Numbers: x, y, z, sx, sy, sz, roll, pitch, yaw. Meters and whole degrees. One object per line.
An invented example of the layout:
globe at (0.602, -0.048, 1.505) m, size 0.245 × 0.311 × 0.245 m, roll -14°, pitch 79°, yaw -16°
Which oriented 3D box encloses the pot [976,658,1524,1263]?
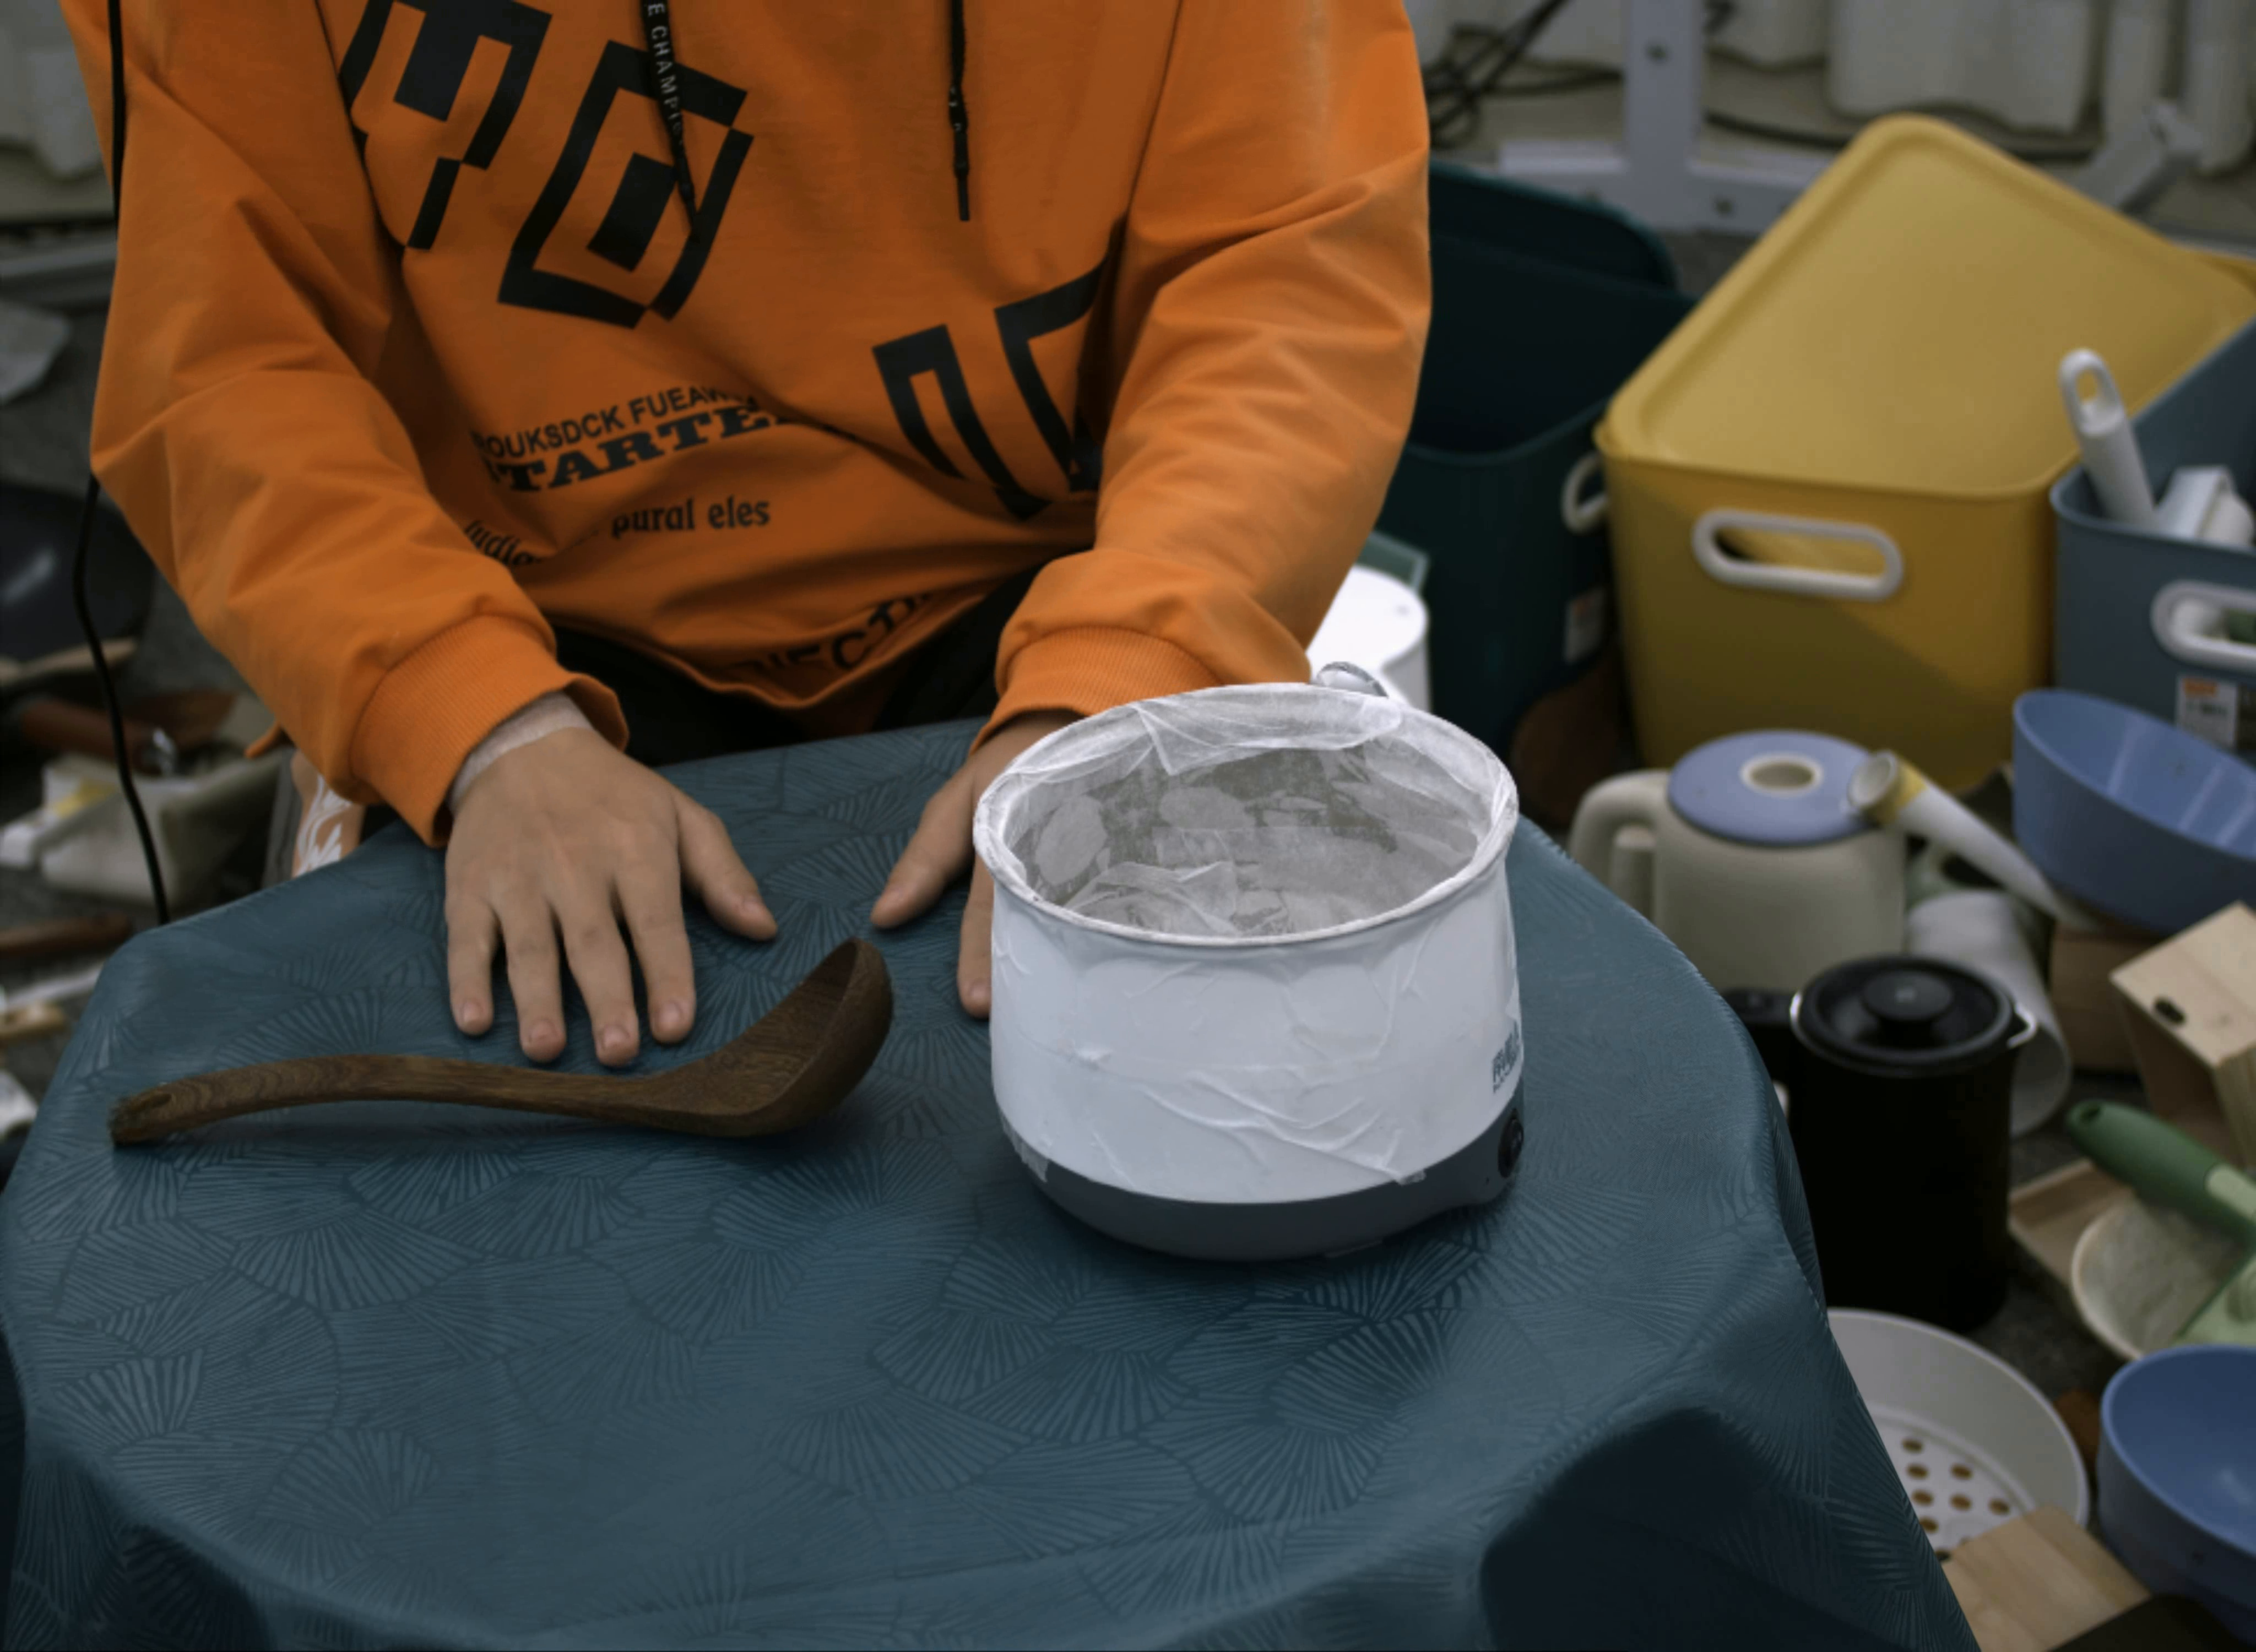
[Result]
pot at (0.050, 0.037, 1.872) m, size 0.177 × 0.135 × 0.238 m, roll 7°, pitch 29°, yaw 17°

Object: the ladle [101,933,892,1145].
ladle at (-0.215, 0.074, 1.902) m, size 0.272 × 0.070 × 0.077 m, roll -1°, pitch 24°, yaw 3°
